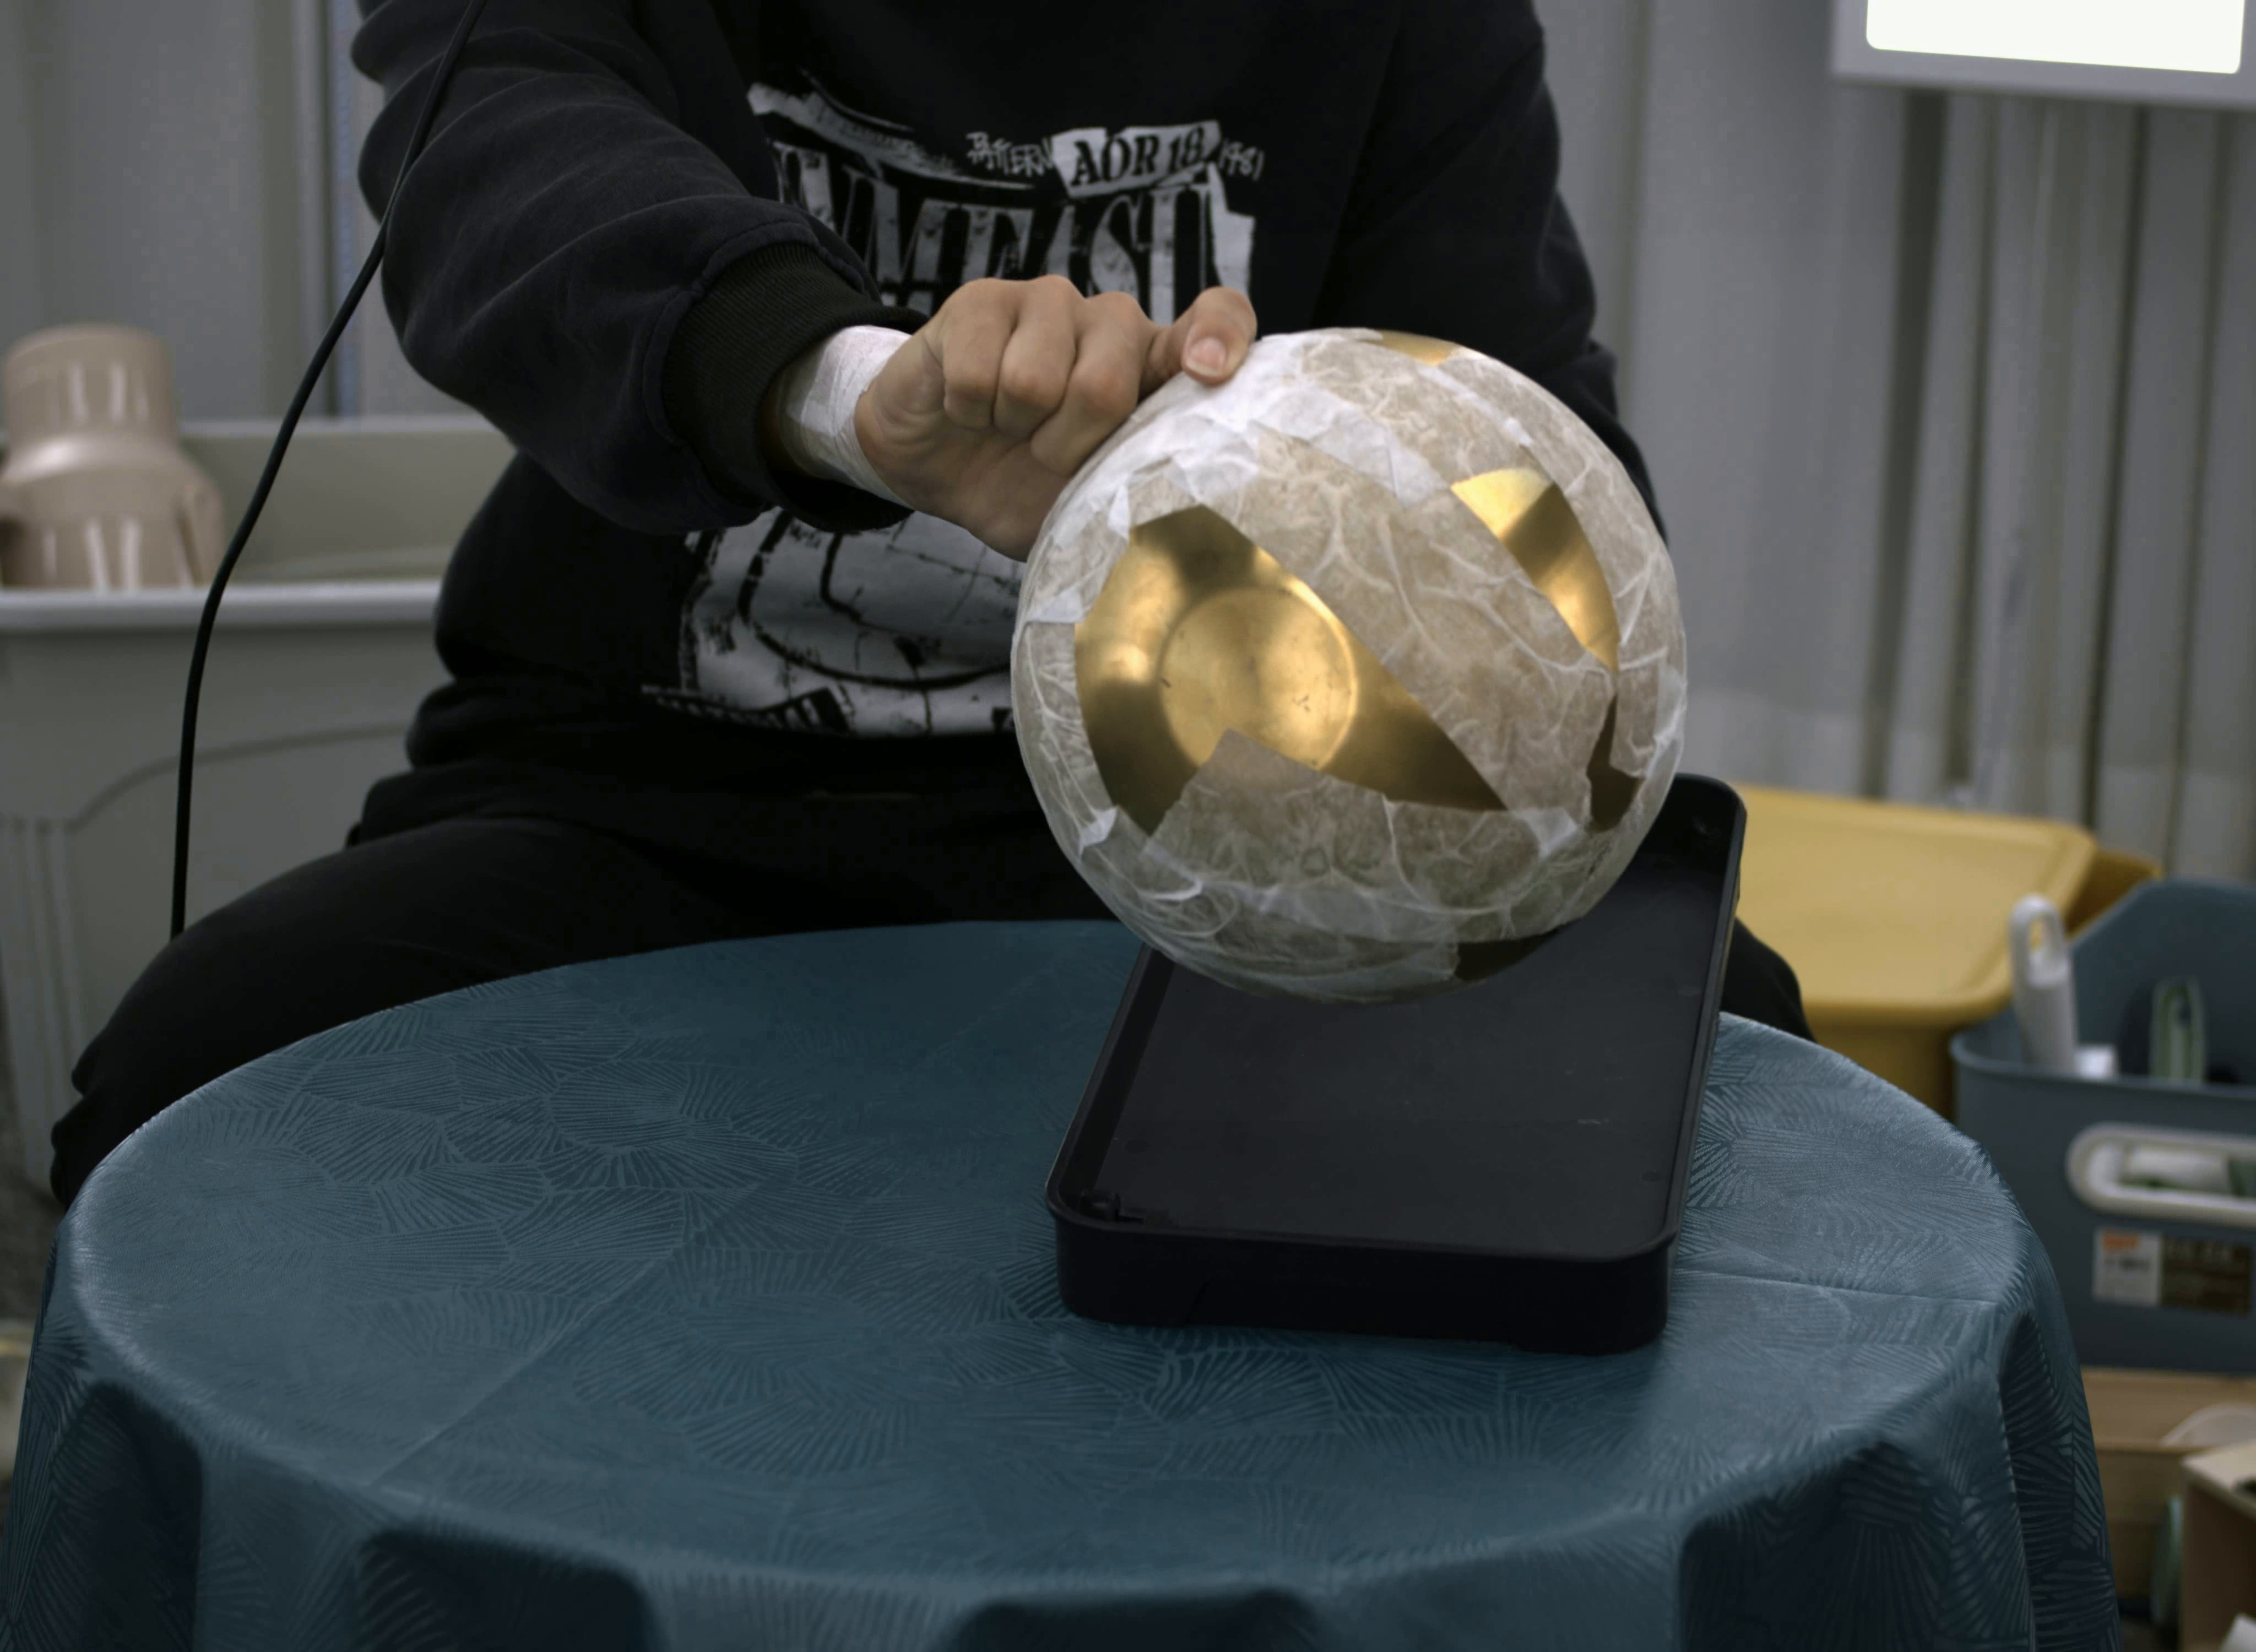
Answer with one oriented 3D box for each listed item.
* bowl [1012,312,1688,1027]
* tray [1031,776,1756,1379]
[{"bbox_3d":[0.049,-0.041,1.504,0.212,0.216,0.095,7,9,19],"label":"bowl"},{"bbox_3d":[0.089,0.065,1.635,0.183,0.037,0.316,6,28,10],"label":"tray"}]
